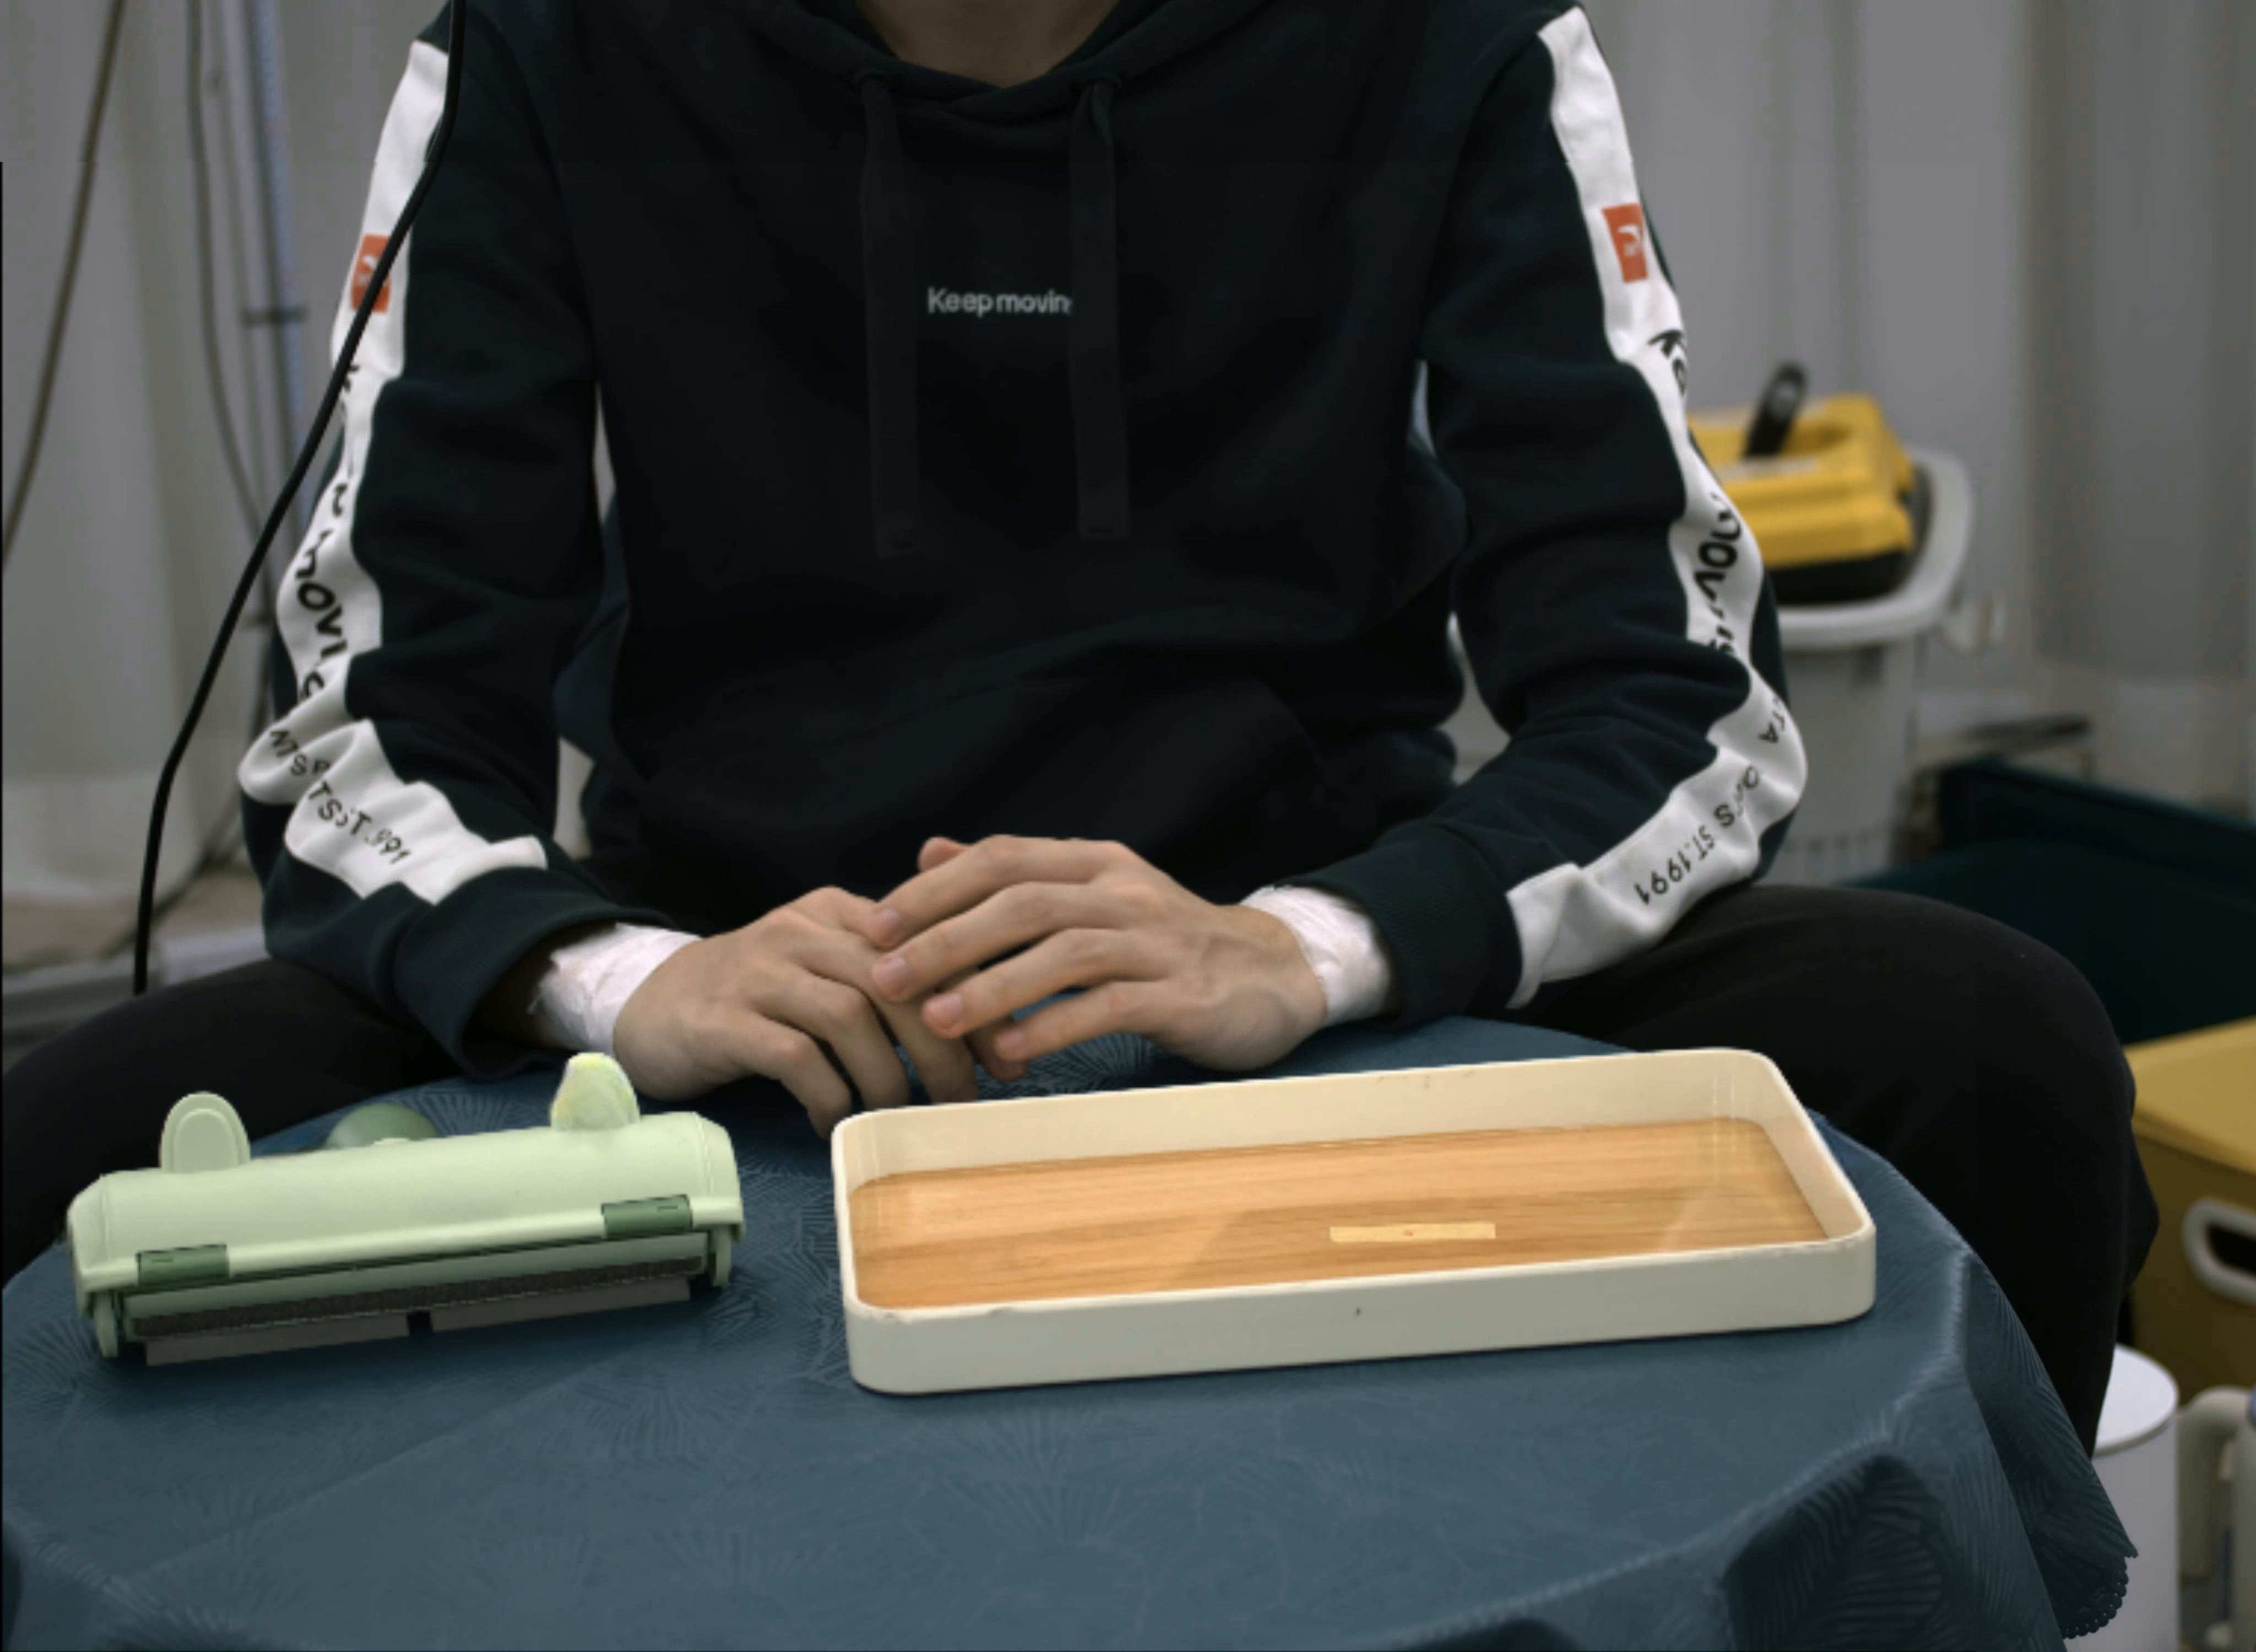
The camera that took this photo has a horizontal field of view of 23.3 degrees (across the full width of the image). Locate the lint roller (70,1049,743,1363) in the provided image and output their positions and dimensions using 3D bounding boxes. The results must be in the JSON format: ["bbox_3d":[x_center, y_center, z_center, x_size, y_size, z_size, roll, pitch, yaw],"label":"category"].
[{"bbox_3d":[-0.225,0.098,1.676,0.198,0.082,0.185,-6,19,-10],"label":"lint roller"}]

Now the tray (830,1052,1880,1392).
[{"bbox_3d":[0.062,0.117,1.642,0.299,0.027,0.193,-4,14,-3],"label":"tray"}]
